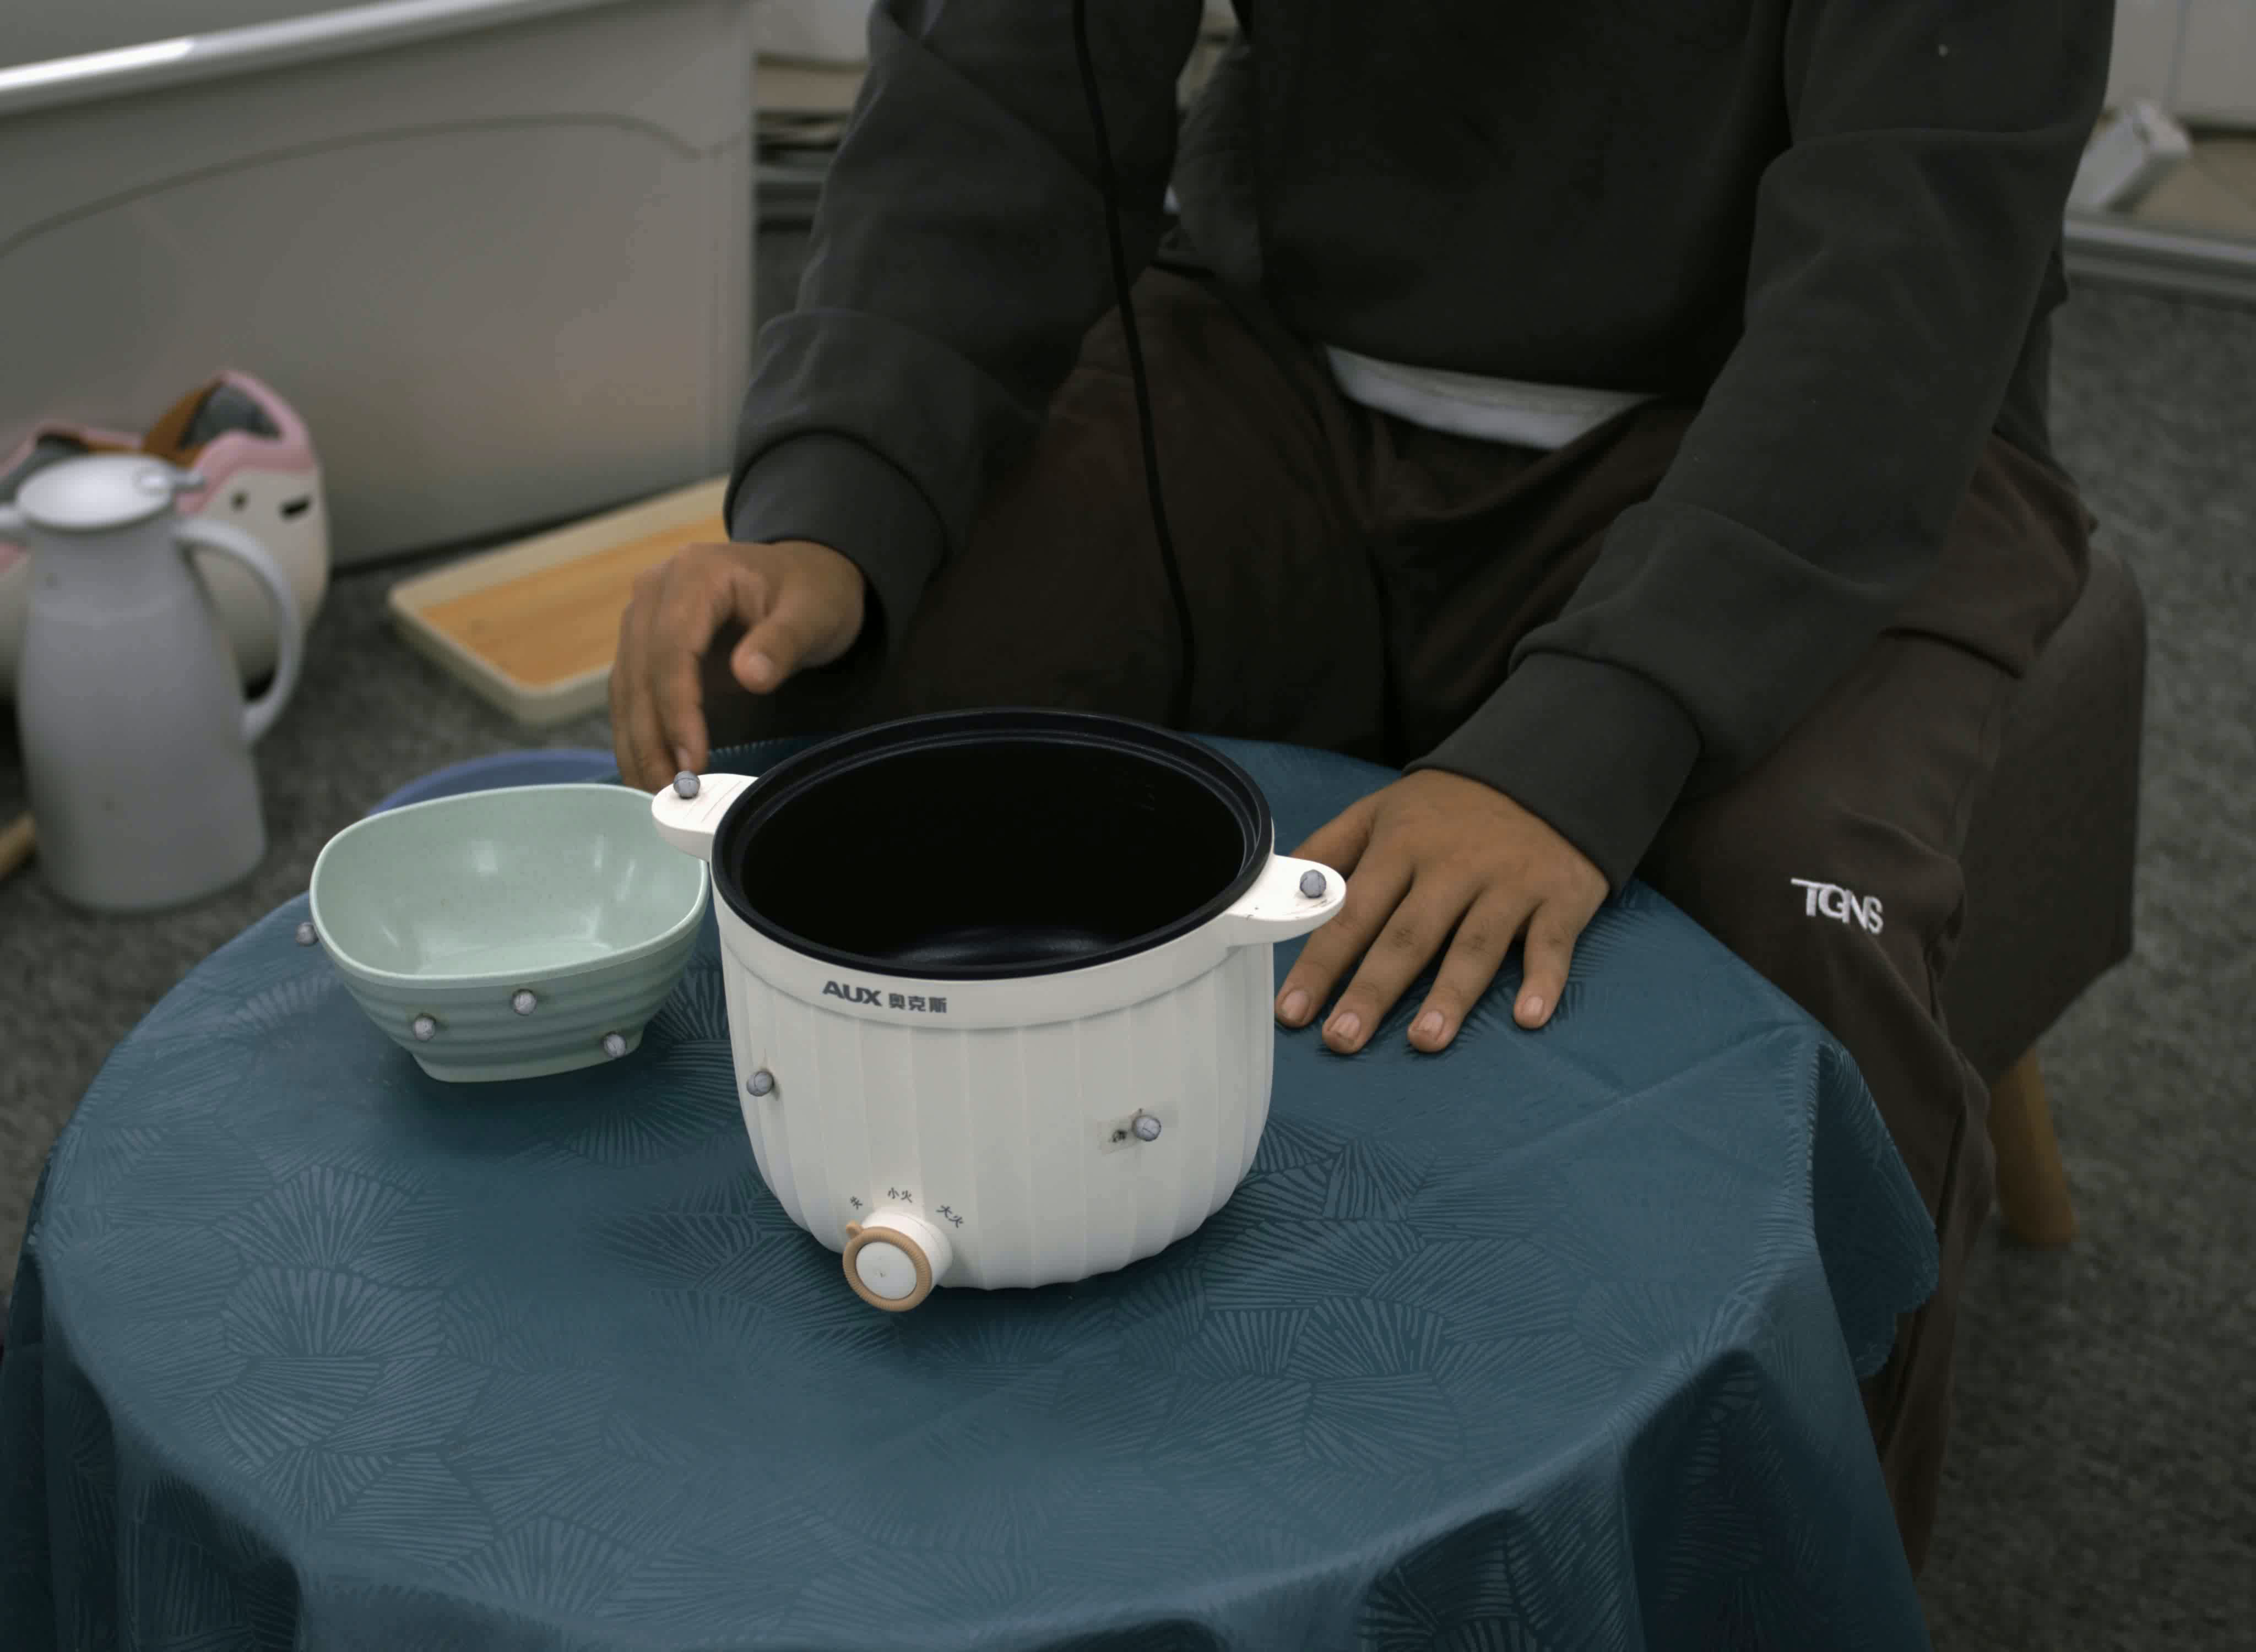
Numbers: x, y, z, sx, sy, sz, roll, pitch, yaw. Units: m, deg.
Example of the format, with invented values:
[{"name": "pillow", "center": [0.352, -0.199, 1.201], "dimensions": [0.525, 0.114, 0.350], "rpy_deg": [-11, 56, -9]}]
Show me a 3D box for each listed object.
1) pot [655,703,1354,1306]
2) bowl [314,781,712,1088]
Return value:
[{"name": "pot", "center": [-0.040, 0.062, 1.833], "dimensions": [0.238, 0.141, 0.193], "rpy_deg": [6, 25, 20]}, {"name": "bowl", "center": [-0.213, 0.044, 1.973], "dimensions": [0.151, 0.058, 0.154], "rpy_deg": [-2, 29, 2]}]
